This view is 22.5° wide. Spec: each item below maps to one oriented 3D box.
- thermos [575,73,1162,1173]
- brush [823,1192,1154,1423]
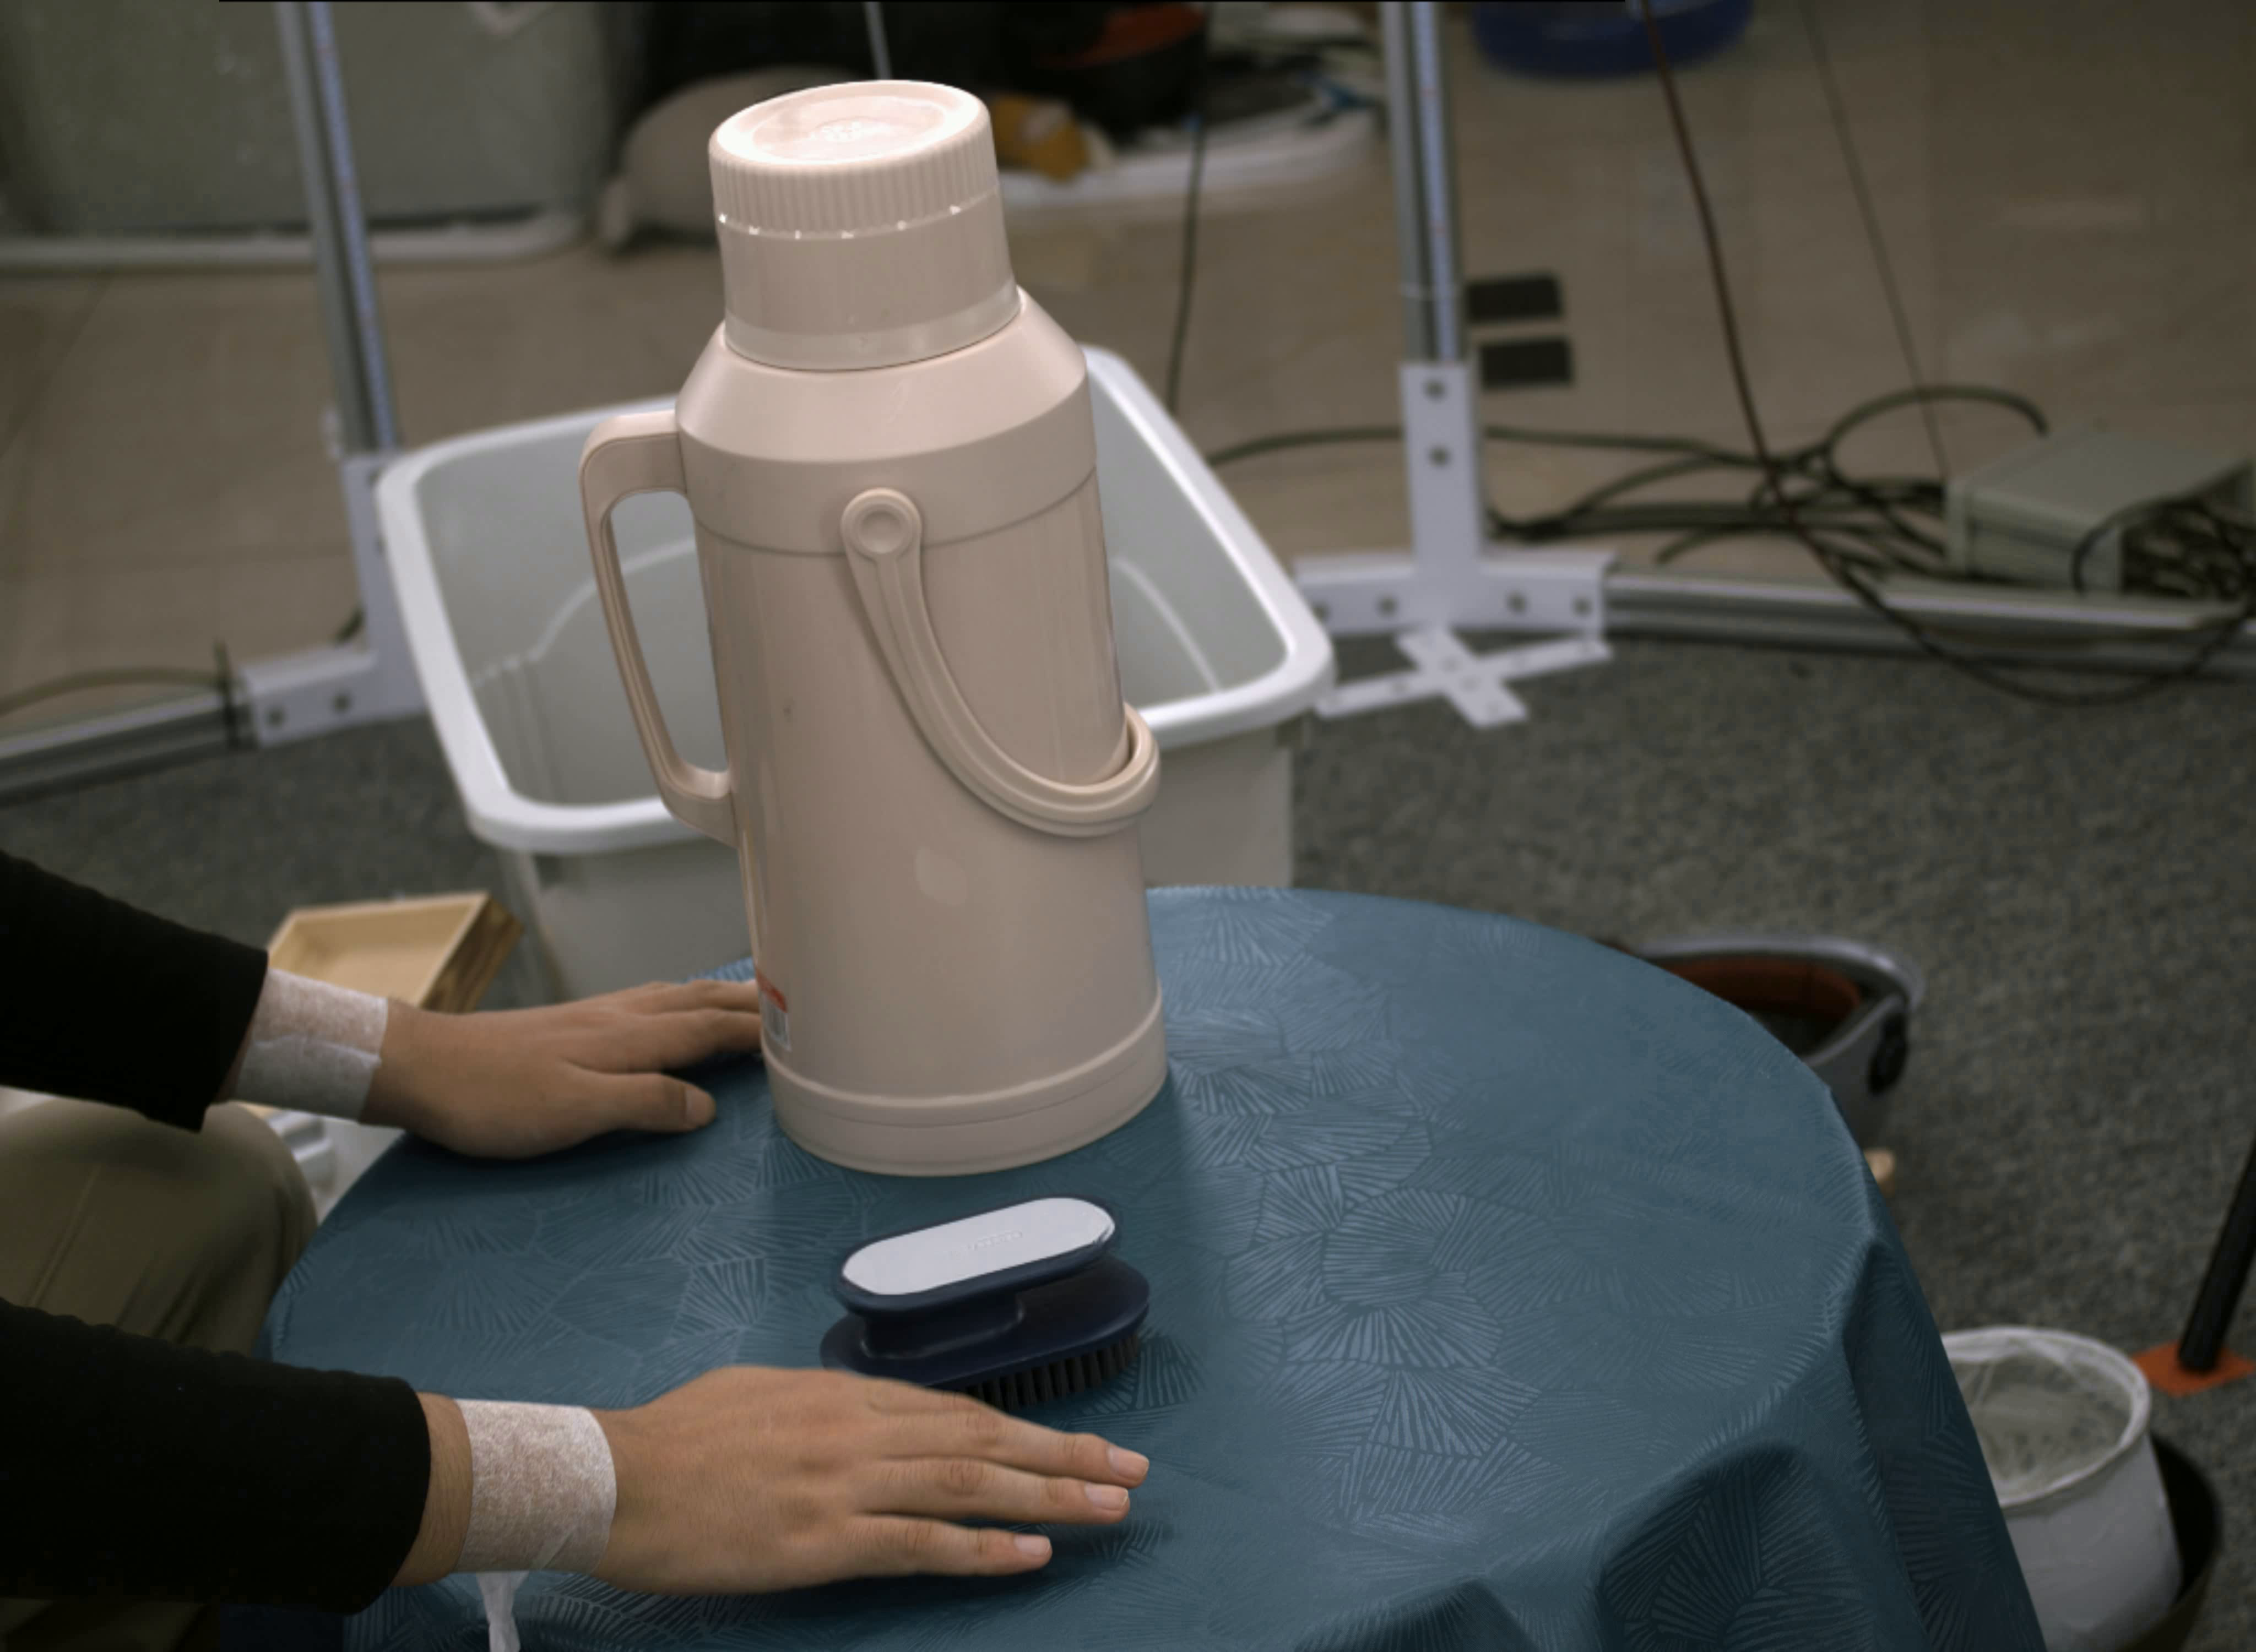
[{"bbox_3d":[-0.098,-0.077,2.159,0.207,0.413,0.172,-5,27,1],"label":"thermos"},{"bbox_3d":[-0.050,0.173,2.021,0.121,0.062,0.067,-11,23,-14],"label":"brush"}]
